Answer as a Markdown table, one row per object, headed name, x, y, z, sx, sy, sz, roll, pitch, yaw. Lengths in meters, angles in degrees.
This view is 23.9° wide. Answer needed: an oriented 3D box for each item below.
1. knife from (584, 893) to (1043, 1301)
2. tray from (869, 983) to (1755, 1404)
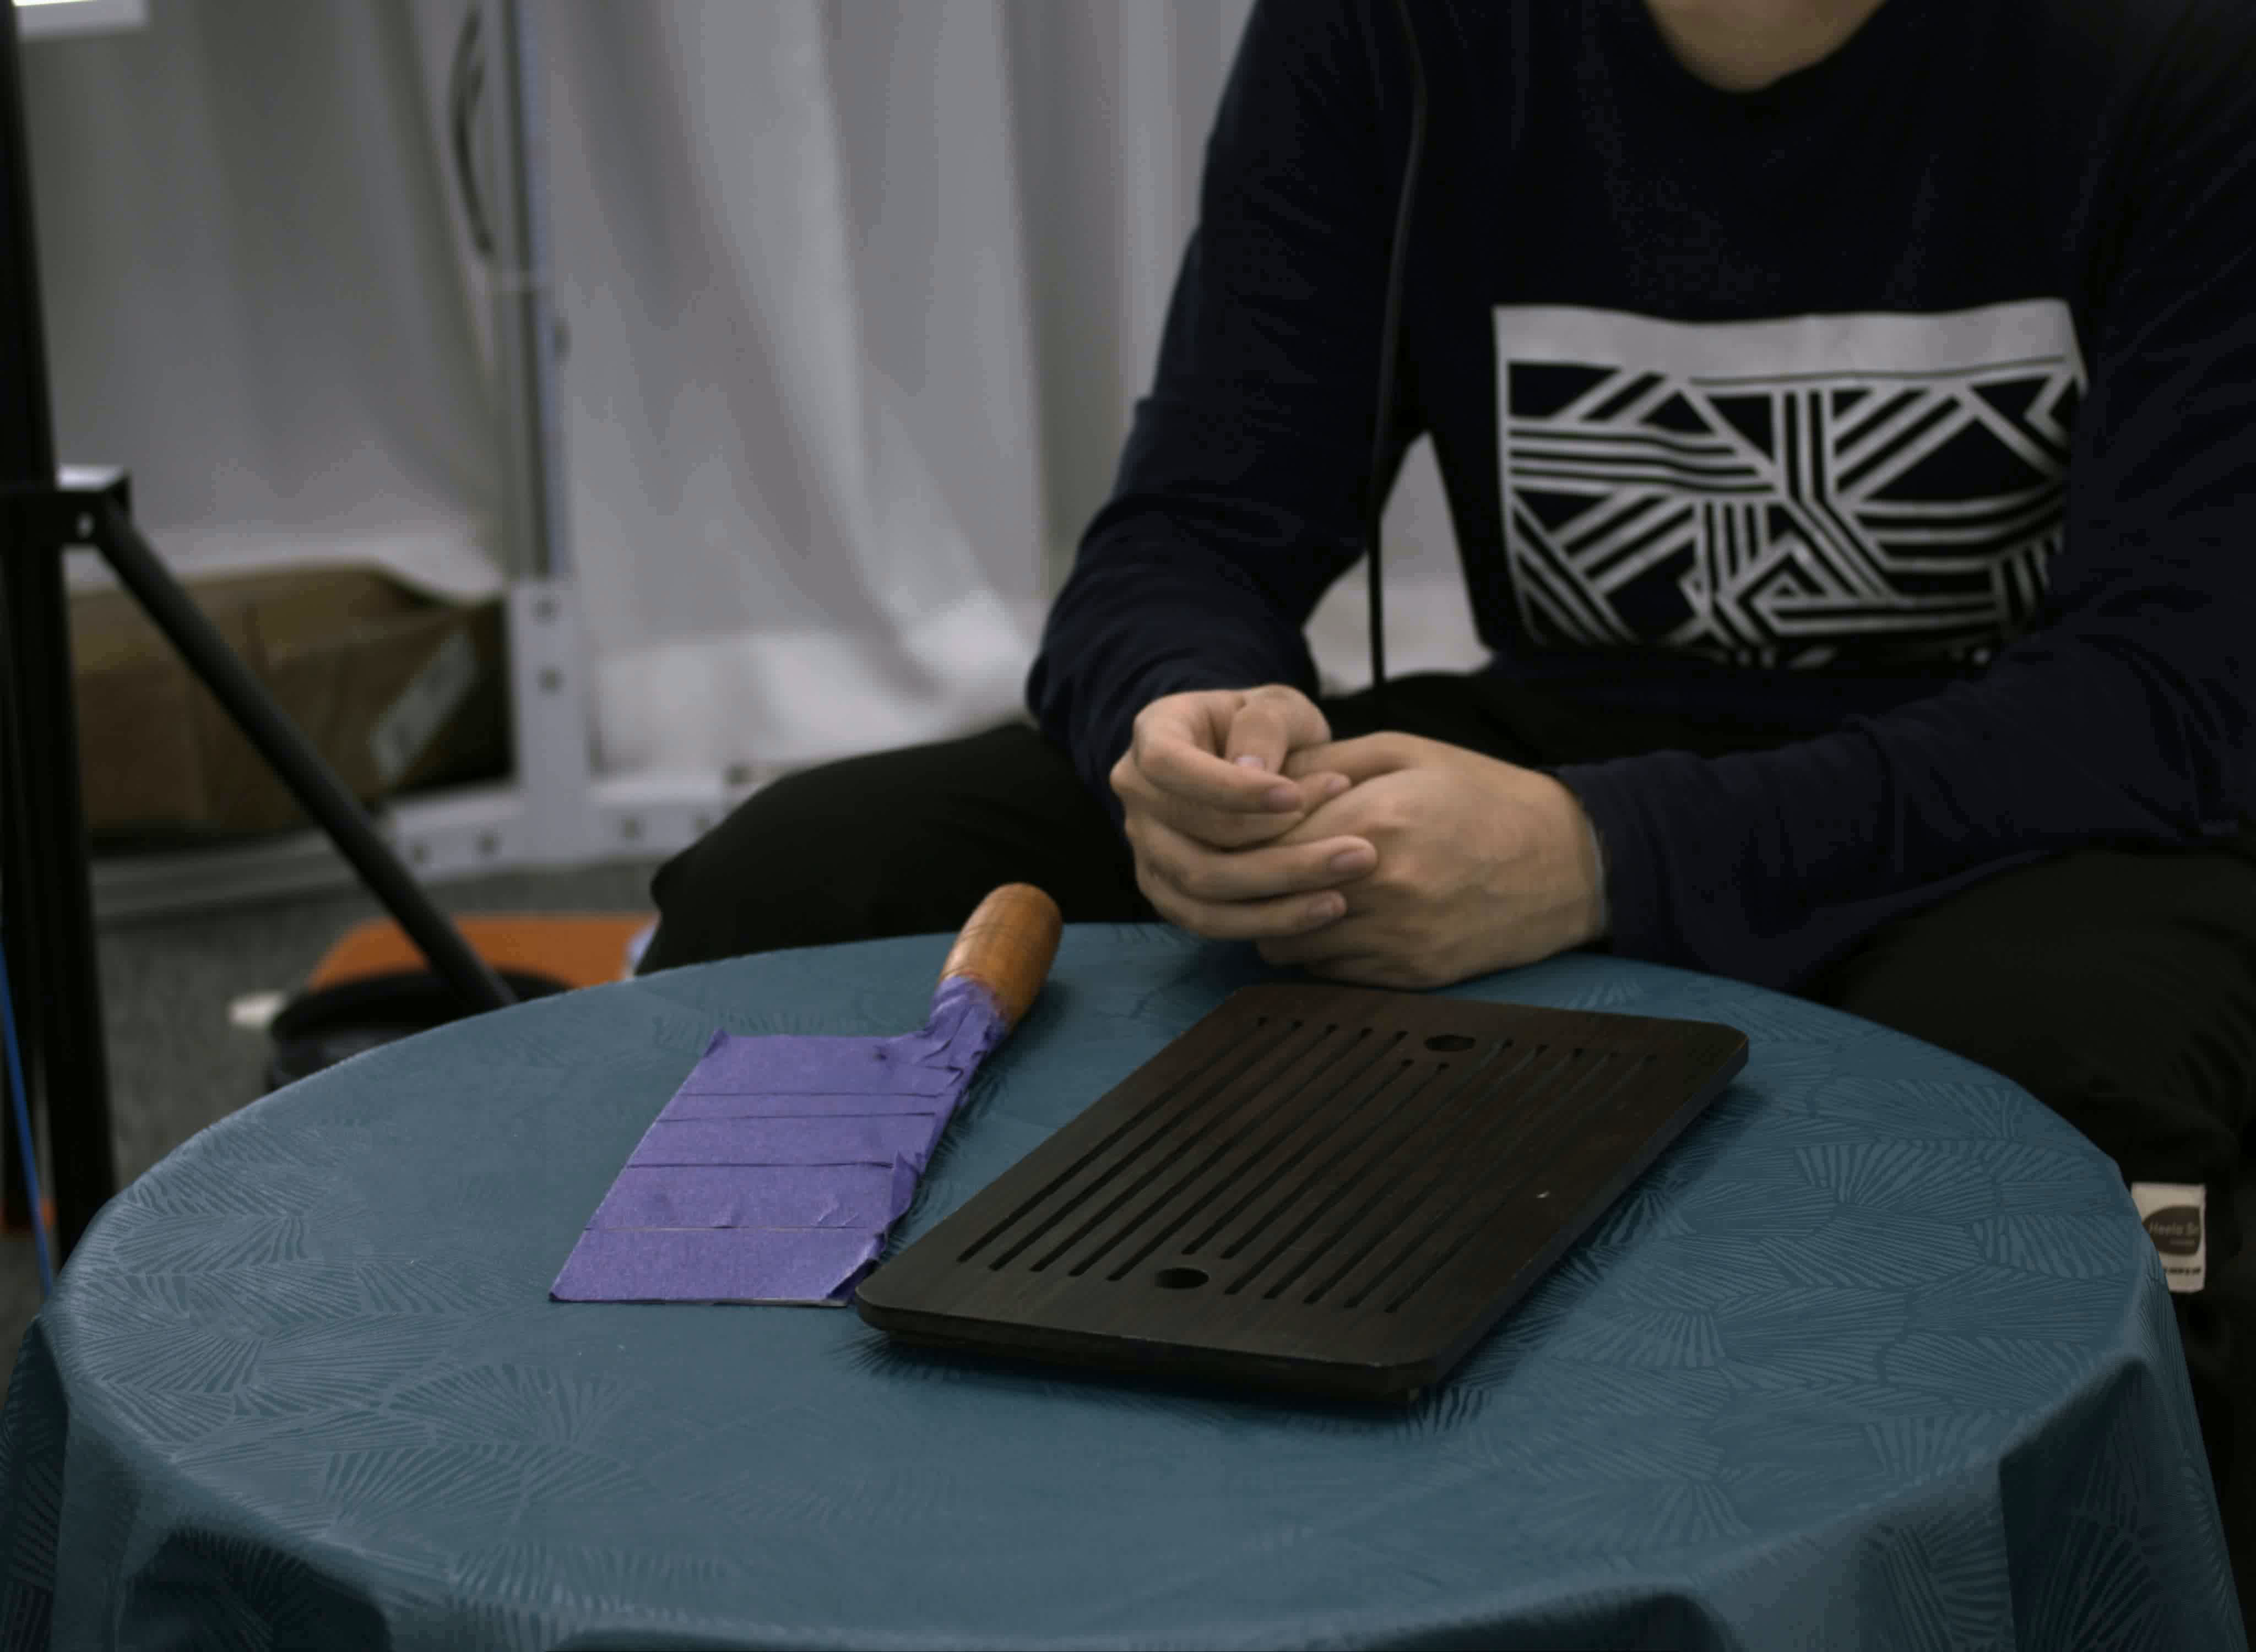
| name | x | y | z | sx | sy | sz | roll | pitch | yaw |
| --- | --- | --- | --- | --- | --- | --- | --- | --- | --- |
| knife | -0.094 | 0.079 | 1.629 | 0.104 | 0.032 | 0.314 | 1 | 16 | 9 |
| tray | 0.061 | 0.103 | 1.536 | 0.172 | 0.018 | 0.301 | 4 | 17 | 23 |
